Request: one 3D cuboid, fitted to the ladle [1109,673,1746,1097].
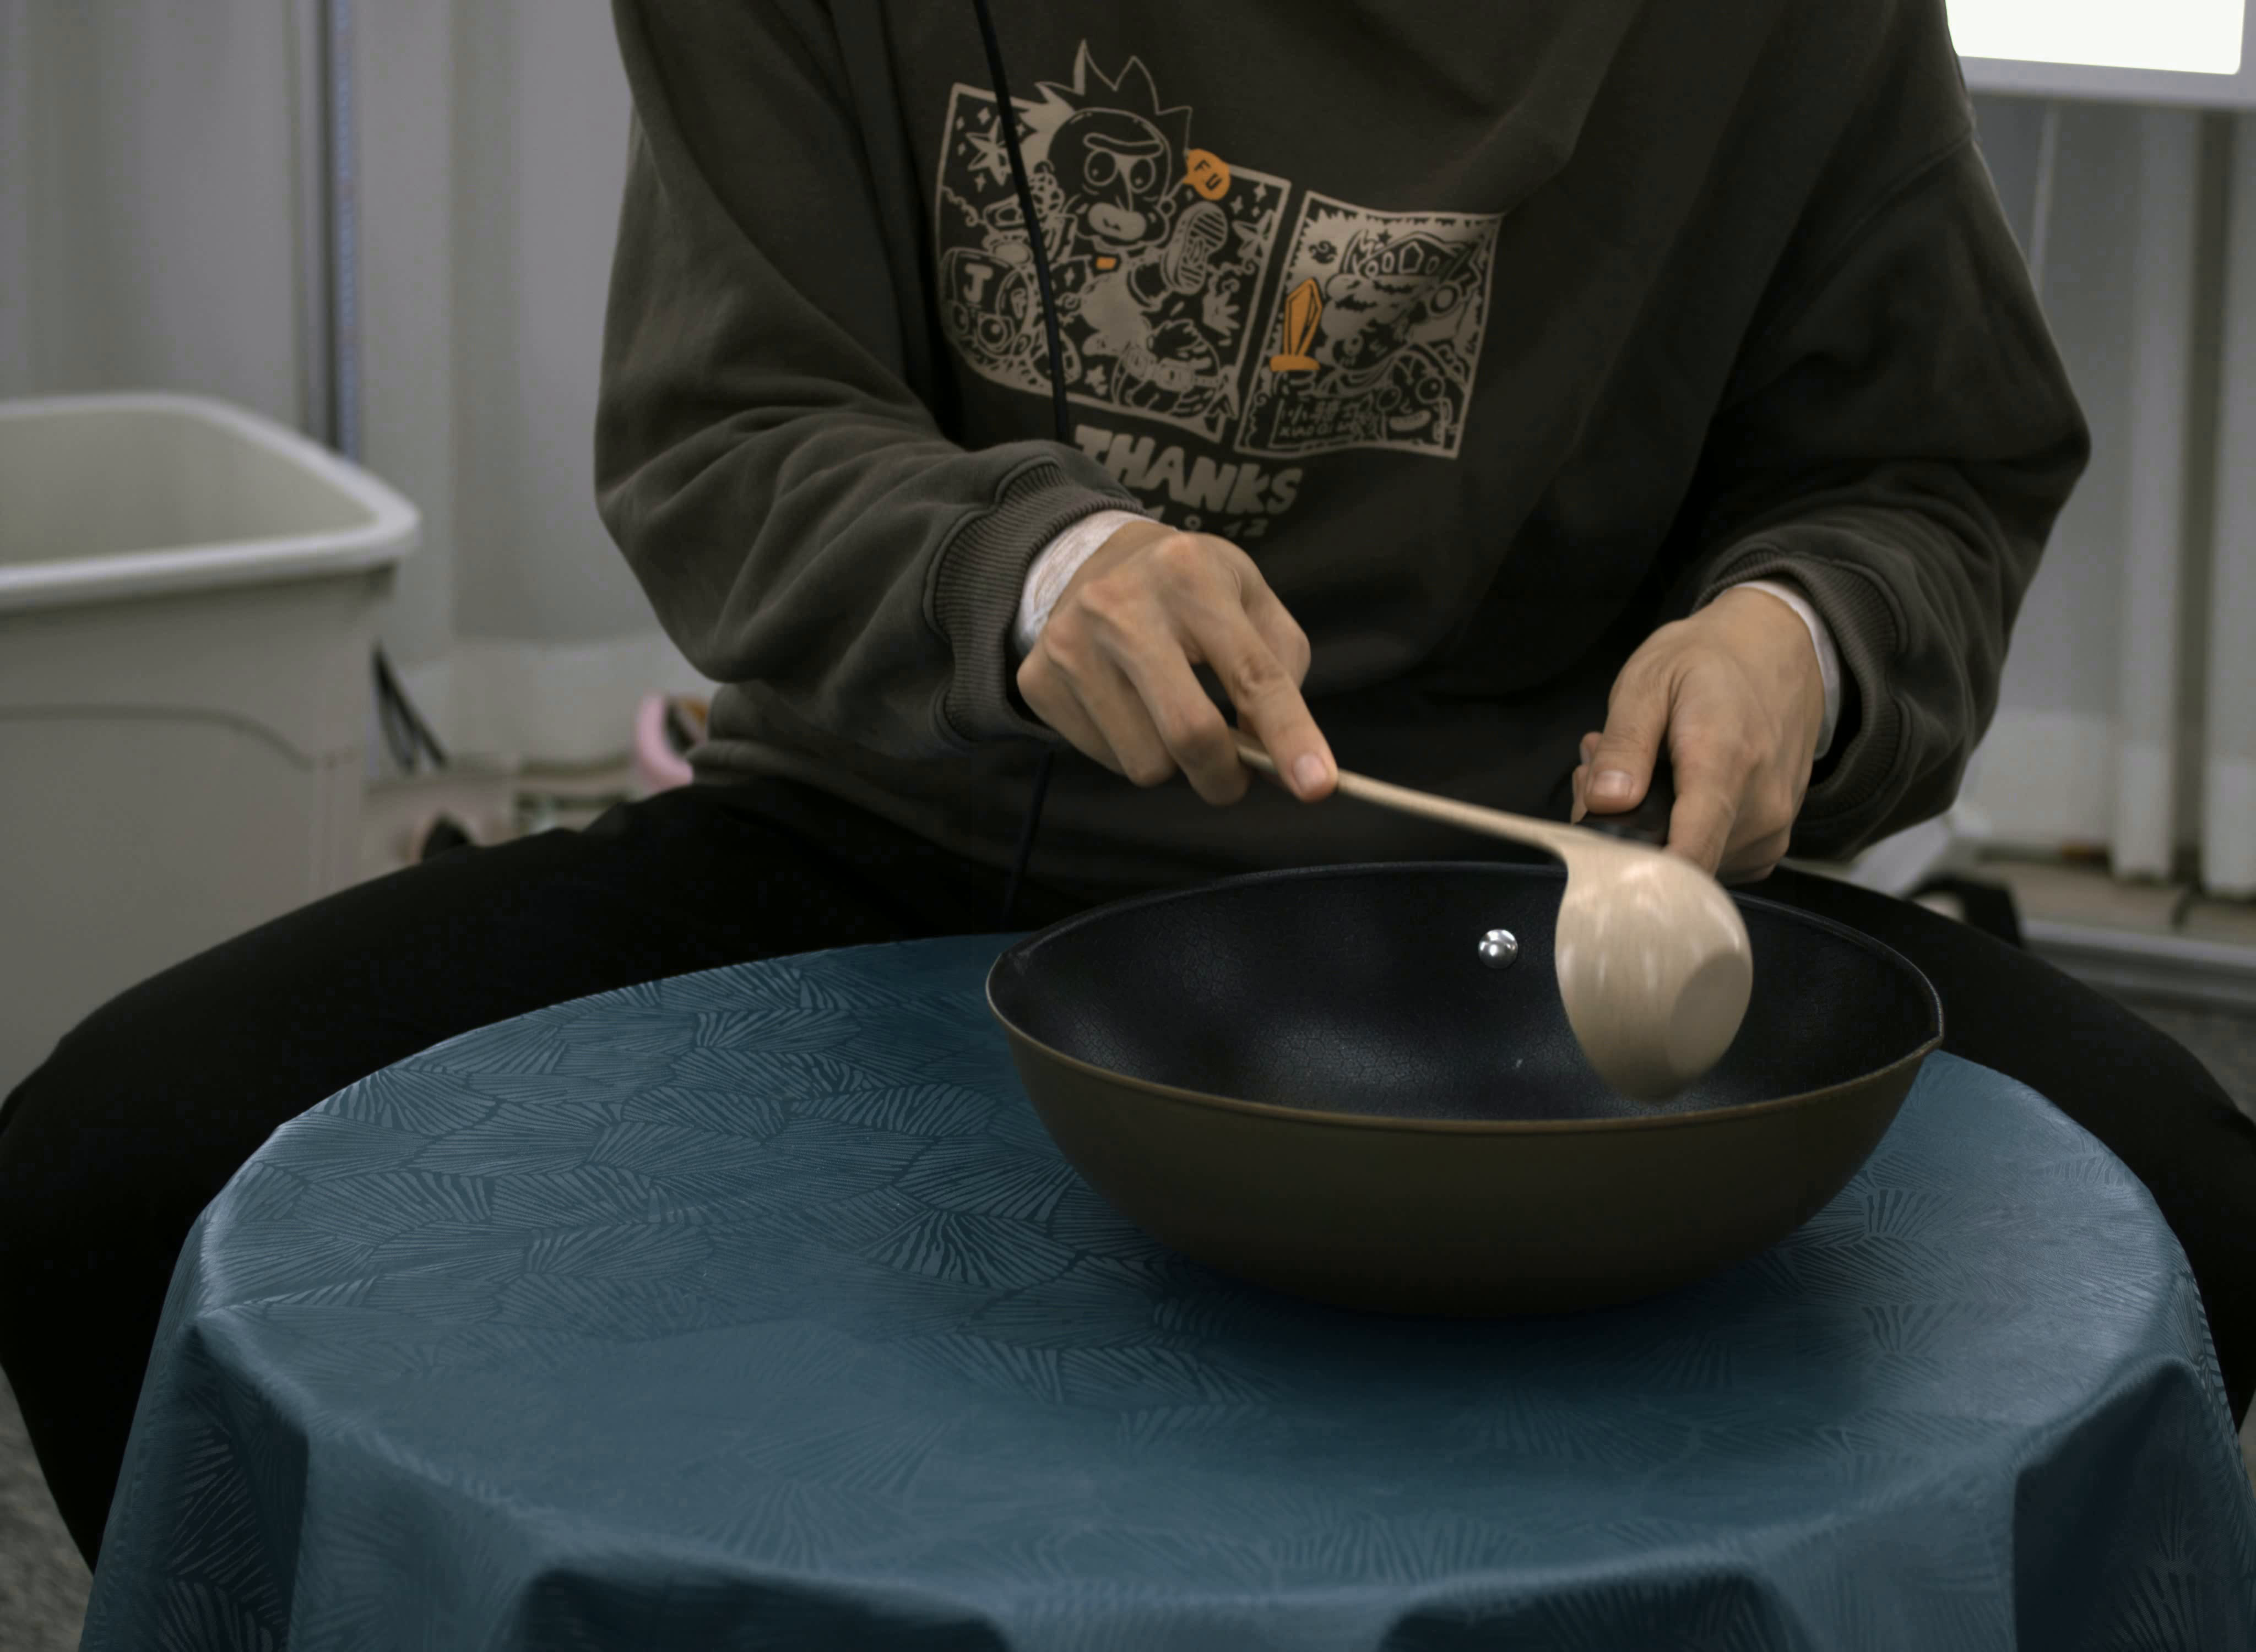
[{"bbox_3d":[0.080,0.021,1.621,0.251,0.073,0.072,22,22,41],"label":"ladle"}]

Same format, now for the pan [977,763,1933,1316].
[{"bbox_3d":[0.124,0.063,1.659,0.285,0.087,0.463,5,14,17],"label":"pan"}]
